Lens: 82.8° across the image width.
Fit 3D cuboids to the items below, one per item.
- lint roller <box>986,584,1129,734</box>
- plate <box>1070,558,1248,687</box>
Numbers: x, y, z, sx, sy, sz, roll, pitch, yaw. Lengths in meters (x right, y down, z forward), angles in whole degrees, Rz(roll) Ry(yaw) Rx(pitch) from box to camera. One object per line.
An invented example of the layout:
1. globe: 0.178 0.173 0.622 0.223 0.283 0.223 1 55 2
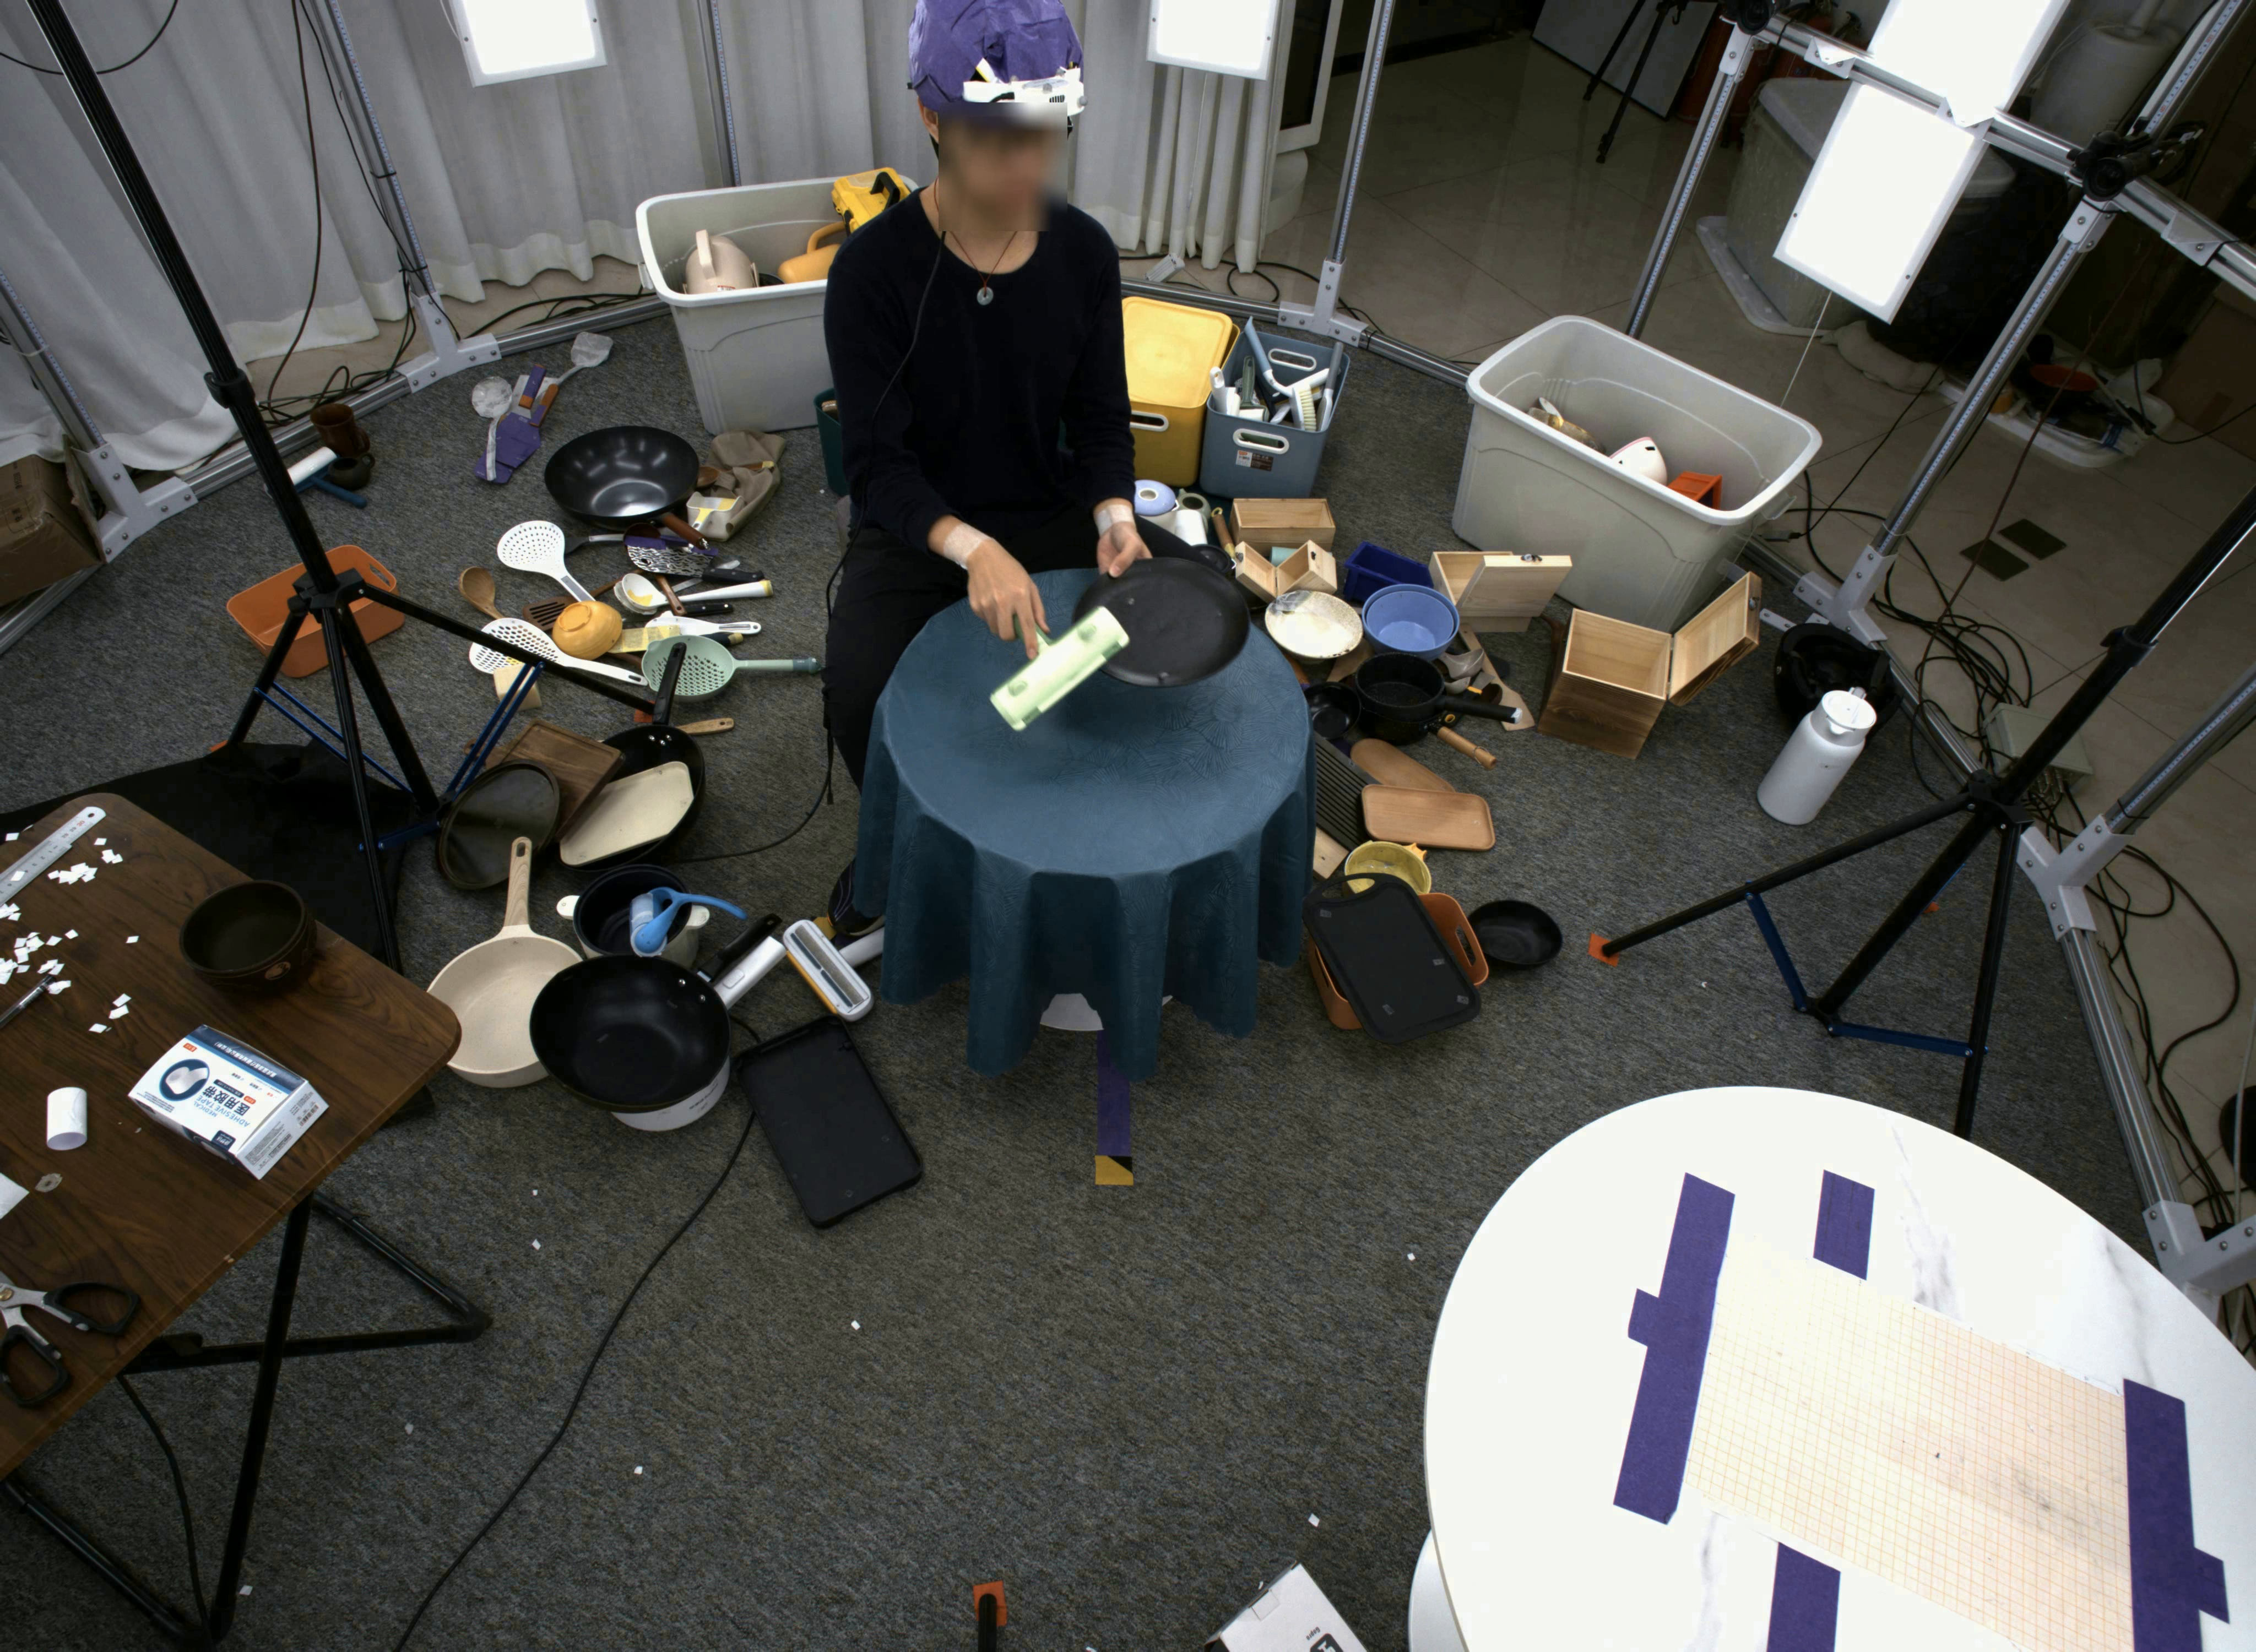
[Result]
1. lint roller: -0.127 -0.249 1.680 0.198 0.082 0.184 -40 88 -1
2. plate: 0.042 -0.276 1.758 0.244 0.023 0.250 -1 53 1
